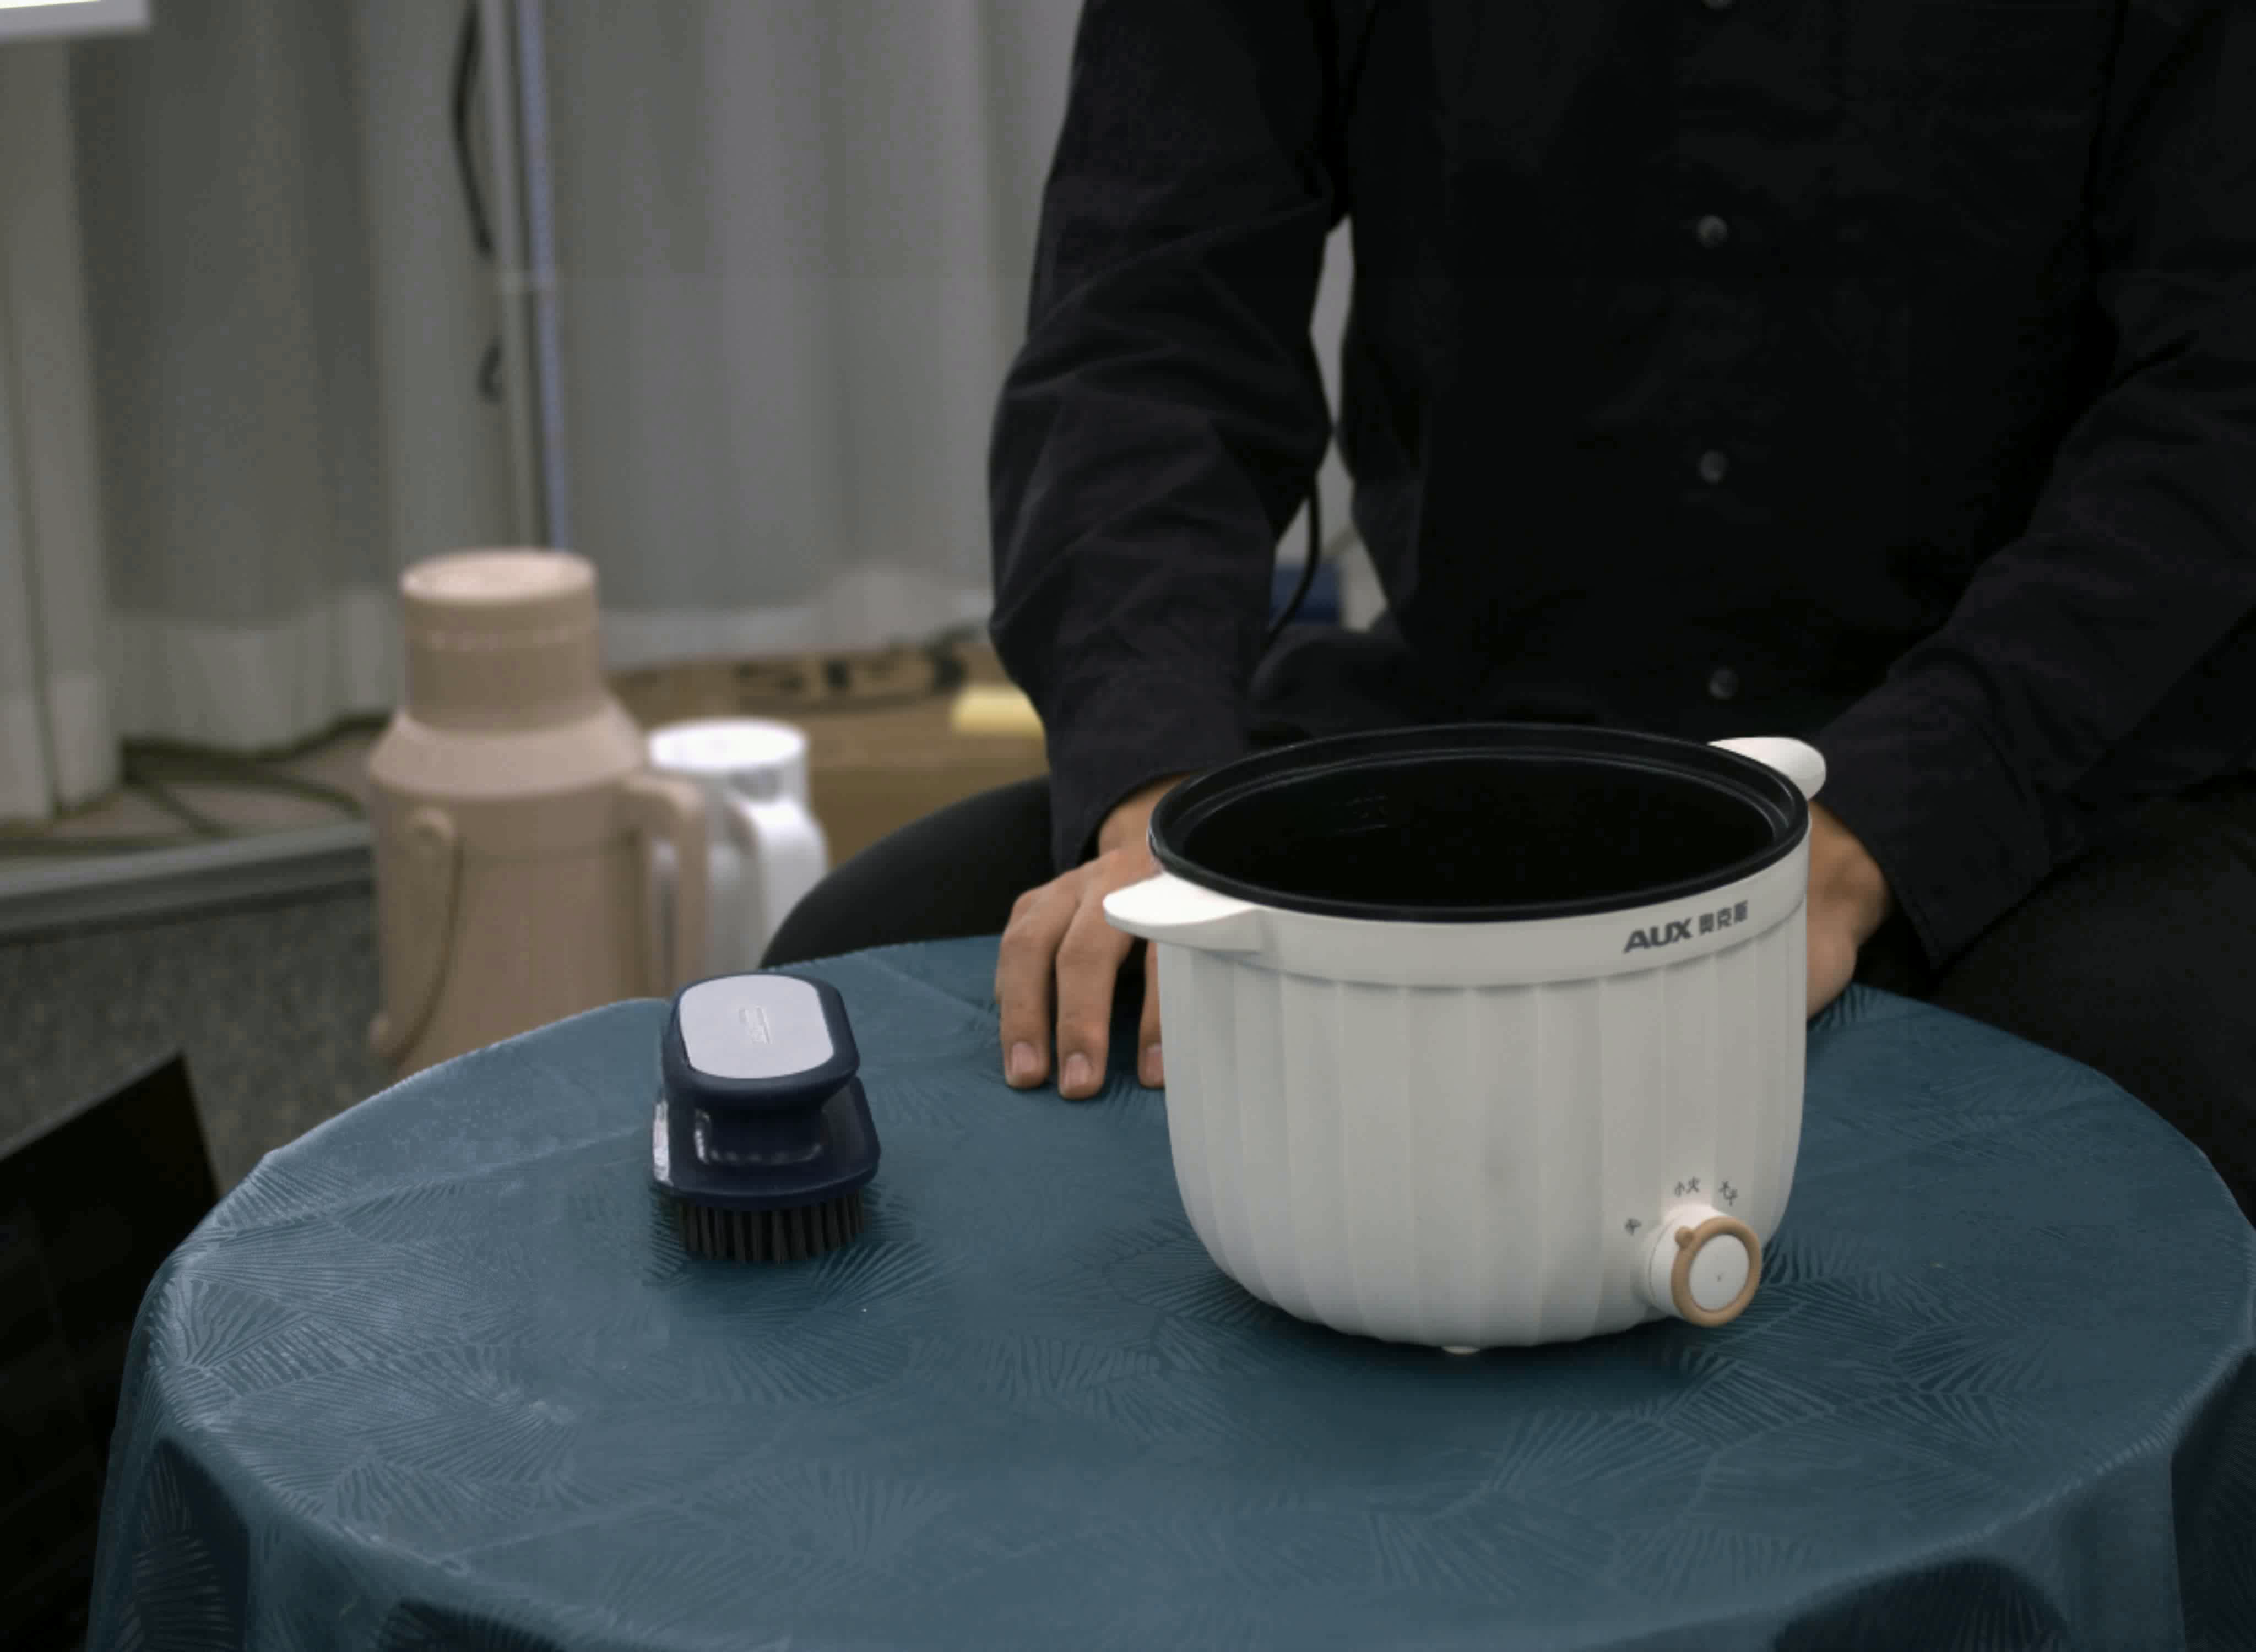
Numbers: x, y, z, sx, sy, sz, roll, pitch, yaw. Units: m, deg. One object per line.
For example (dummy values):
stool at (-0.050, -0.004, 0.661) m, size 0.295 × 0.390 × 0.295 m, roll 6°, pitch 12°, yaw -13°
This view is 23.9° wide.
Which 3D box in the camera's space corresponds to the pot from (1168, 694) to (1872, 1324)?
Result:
pot at (0.118, 0.052, 1.466) m, size 0.235 × 0.142 × 0.195 m, roll -14°, pitch 17°, yaw -32°

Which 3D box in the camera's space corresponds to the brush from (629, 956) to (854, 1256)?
brush at (-0.115, 0.084, 1.580) m, size 0.067 × 0.061 × 0.122 m, roll -5°, pitch 19°, yaw -1°
